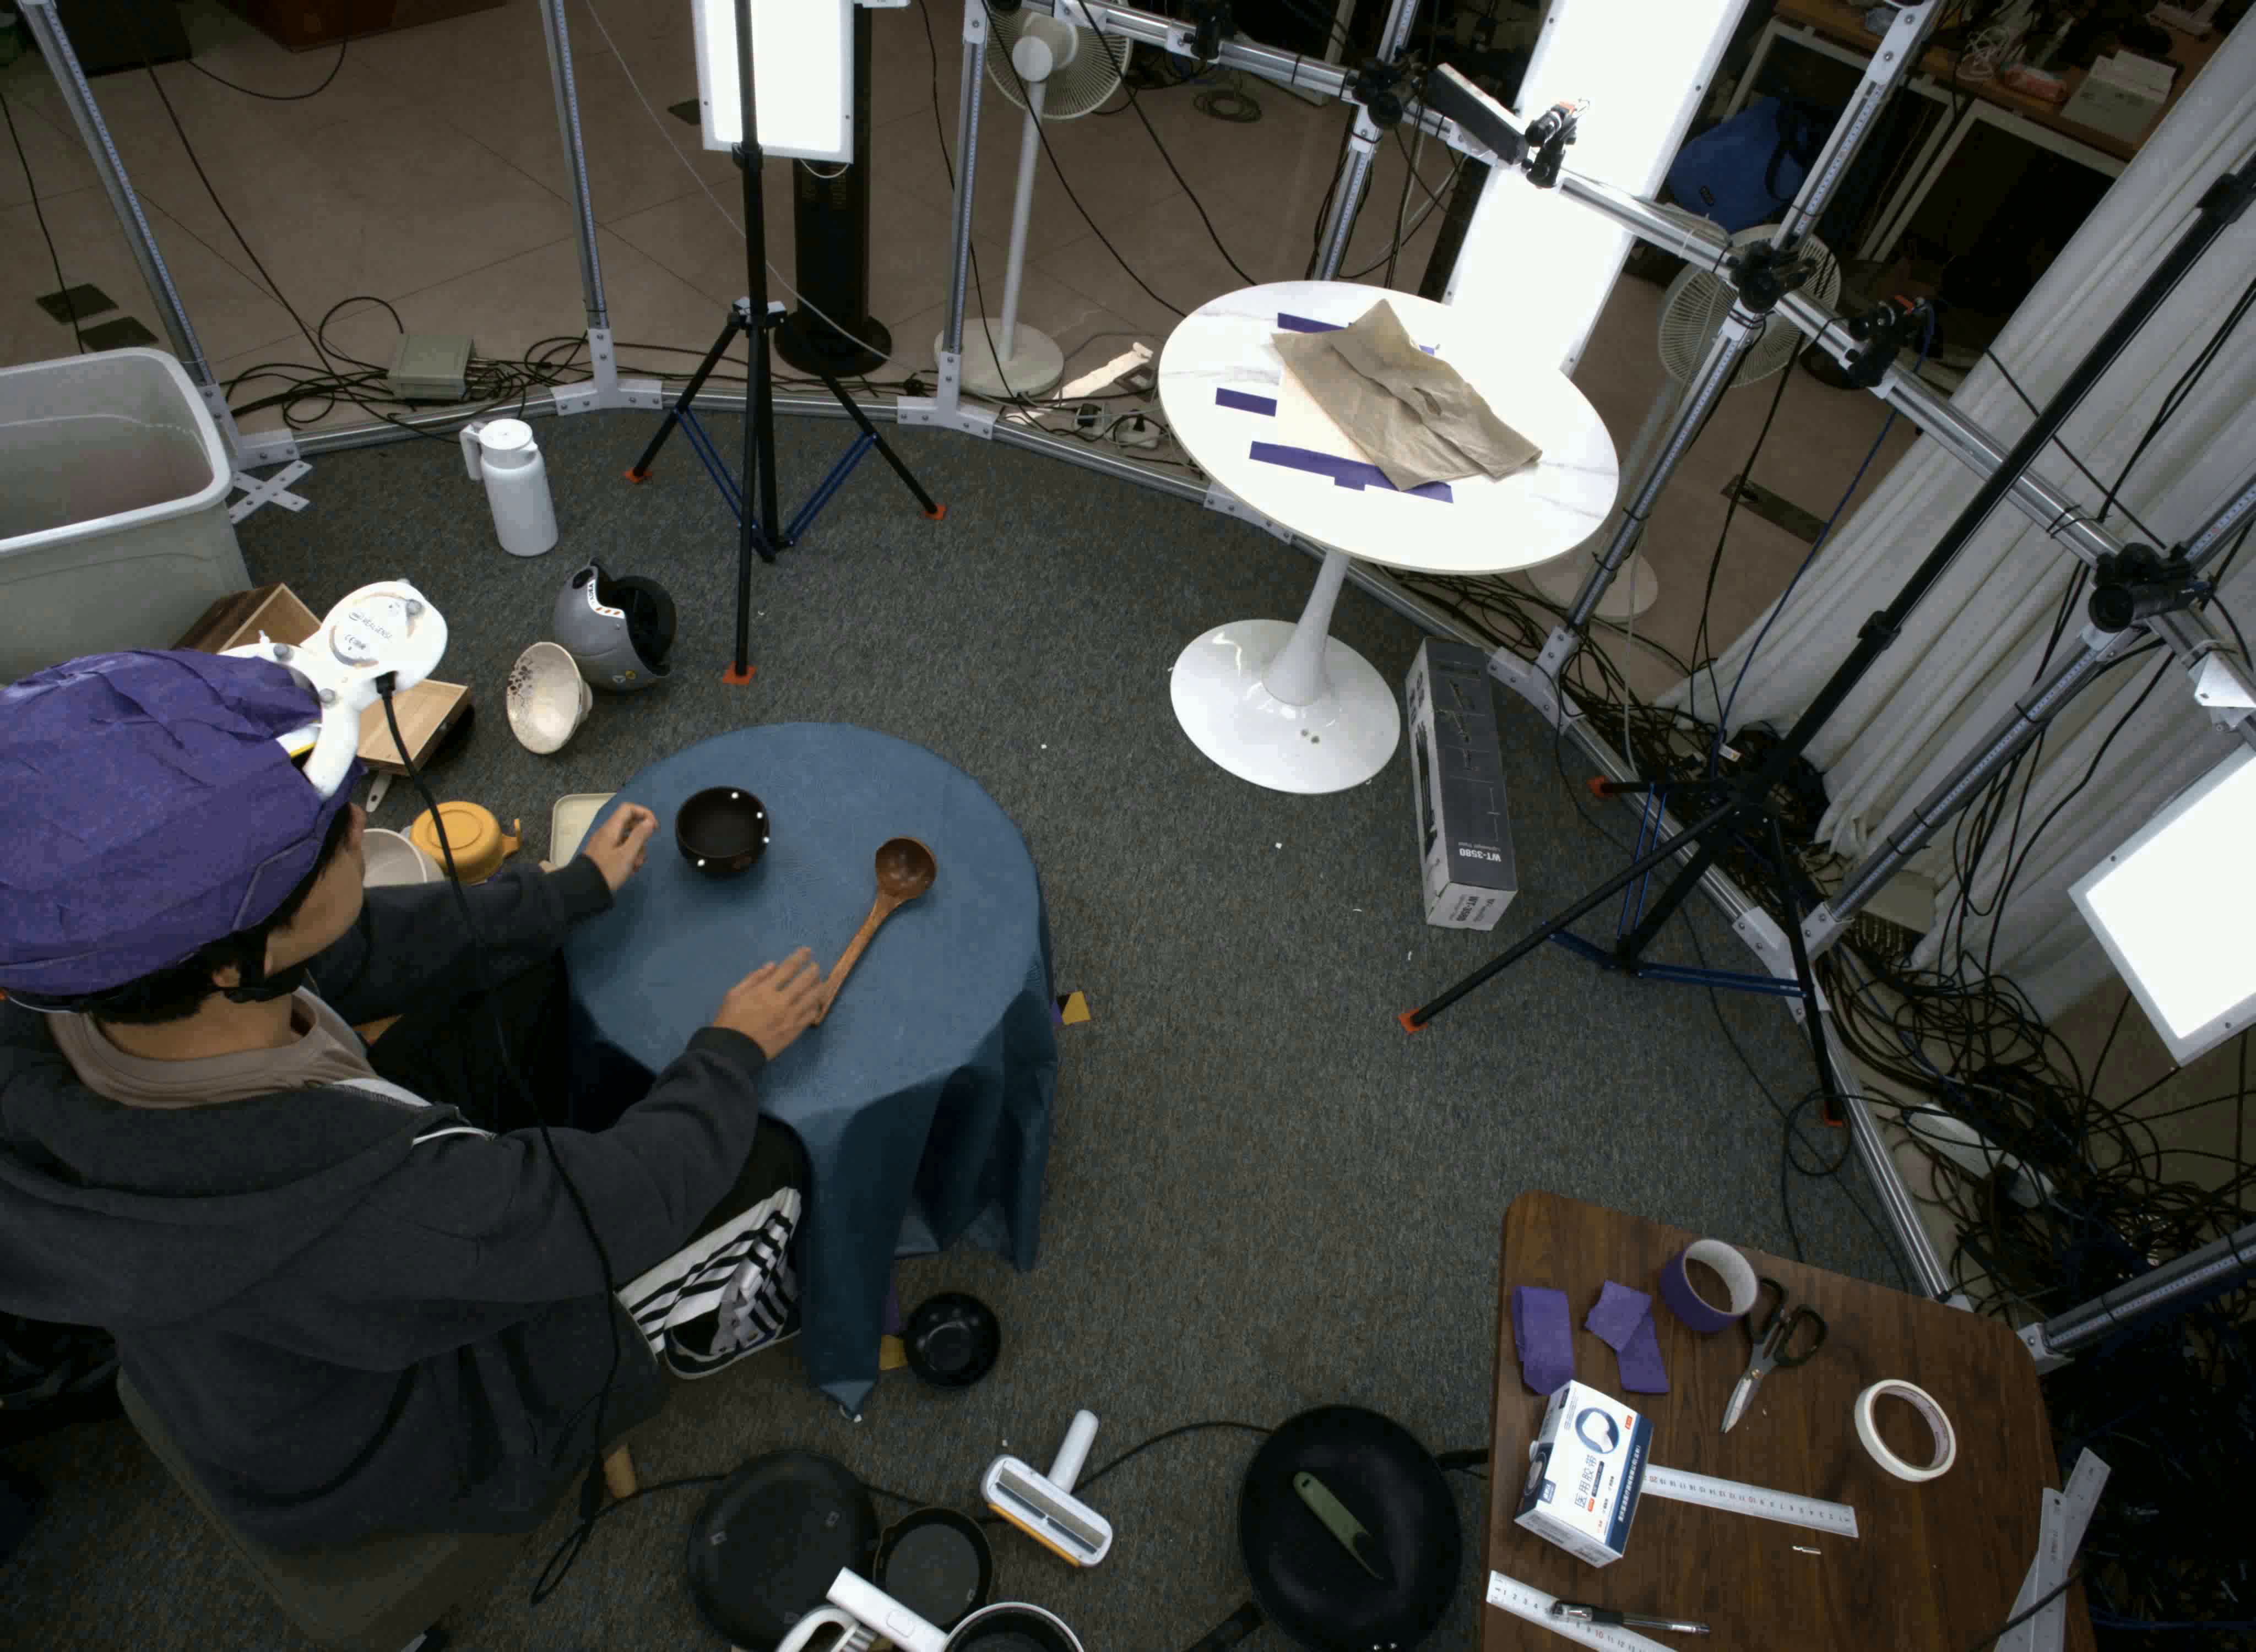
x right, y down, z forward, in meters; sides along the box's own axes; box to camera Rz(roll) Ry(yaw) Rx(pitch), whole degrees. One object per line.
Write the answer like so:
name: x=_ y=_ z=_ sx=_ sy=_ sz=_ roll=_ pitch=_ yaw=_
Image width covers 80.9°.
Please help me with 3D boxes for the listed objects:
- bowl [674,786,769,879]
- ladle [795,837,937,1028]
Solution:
bowl: x=-0.517 y=0.015 z=1.646 sx=0.118 sy=0.071 sz=0.116 roll=7 pitch=52 yaw=-8
ladle: x=-0.326 y=0.126 z=1.609 sx=0.081 sy=0.078 sz=0.272 roll=28 pitch=51 yaw=3
